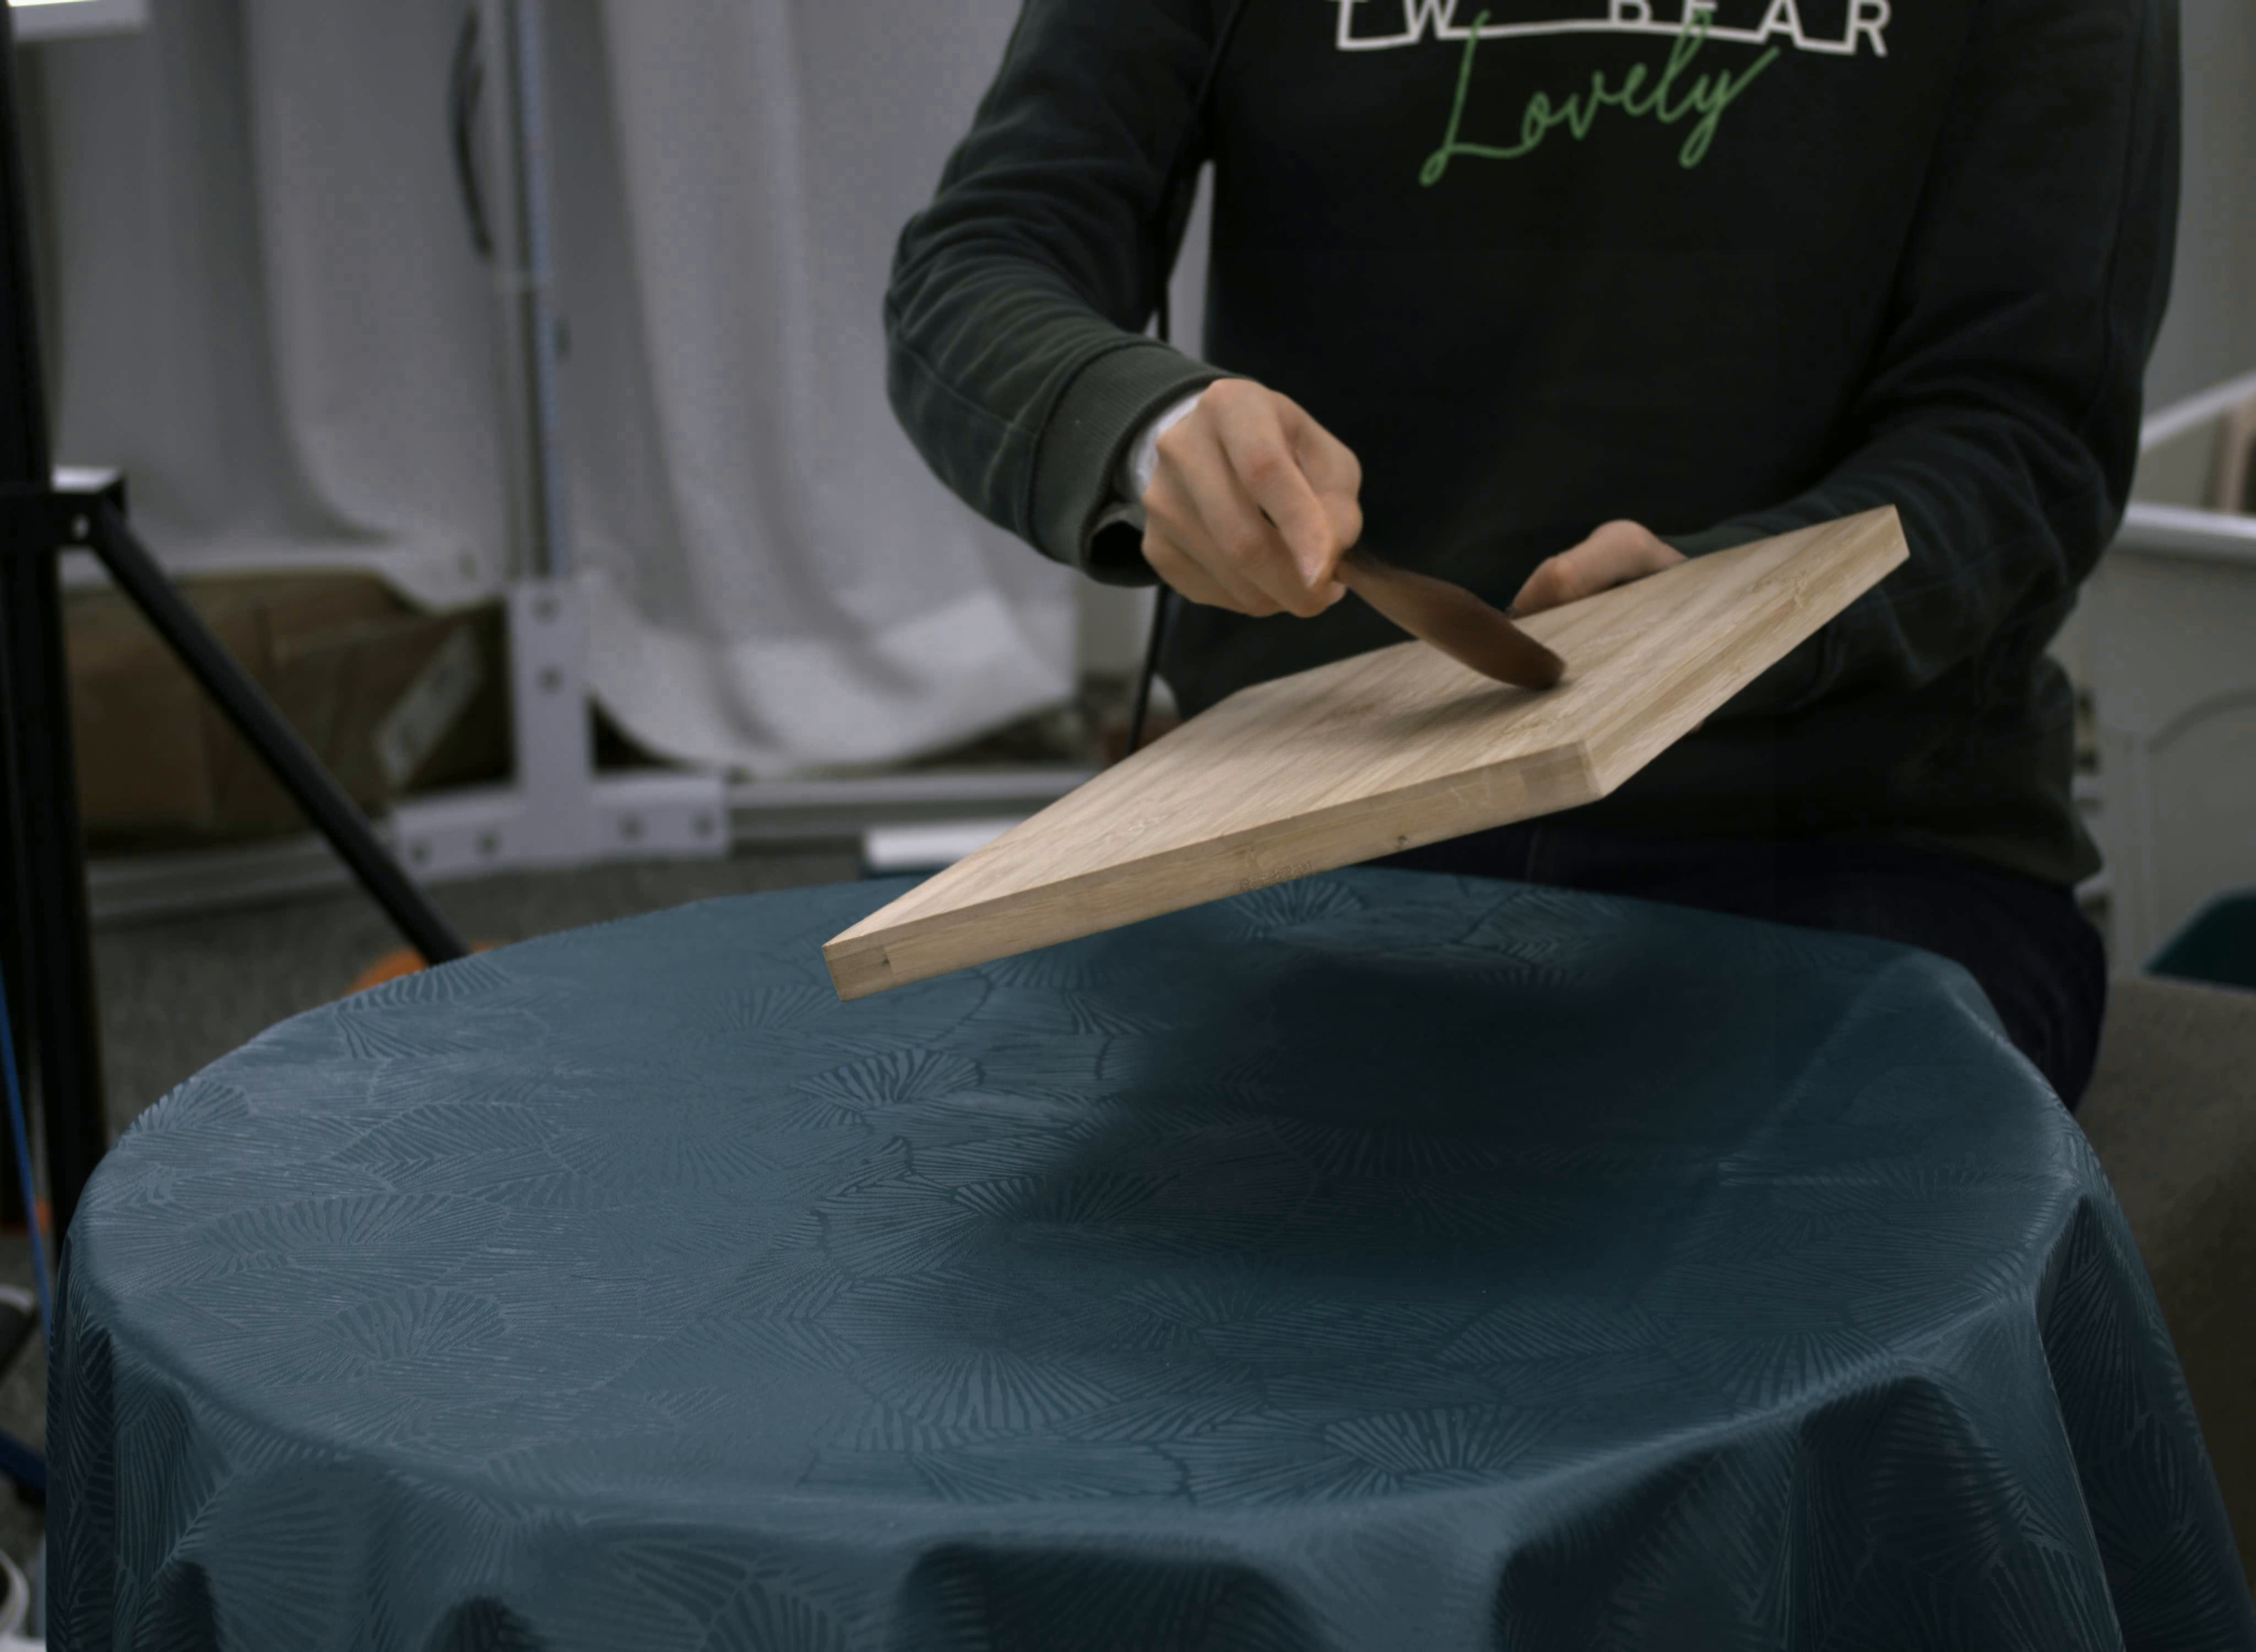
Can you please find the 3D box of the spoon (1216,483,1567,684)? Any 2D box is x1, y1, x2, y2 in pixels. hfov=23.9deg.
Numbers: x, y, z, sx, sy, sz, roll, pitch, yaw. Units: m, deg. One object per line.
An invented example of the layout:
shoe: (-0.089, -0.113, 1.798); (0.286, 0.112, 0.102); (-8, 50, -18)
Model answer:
spoon: (0.070, -0.074, 1.592); (0.074, 0.017, 0.219); (30, 2, -22)

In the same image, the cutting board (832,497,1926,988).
cutting board: (0.085, -0.027, 1.607); (0.254, 0.023, 0.344); (-15, 8, 25)
